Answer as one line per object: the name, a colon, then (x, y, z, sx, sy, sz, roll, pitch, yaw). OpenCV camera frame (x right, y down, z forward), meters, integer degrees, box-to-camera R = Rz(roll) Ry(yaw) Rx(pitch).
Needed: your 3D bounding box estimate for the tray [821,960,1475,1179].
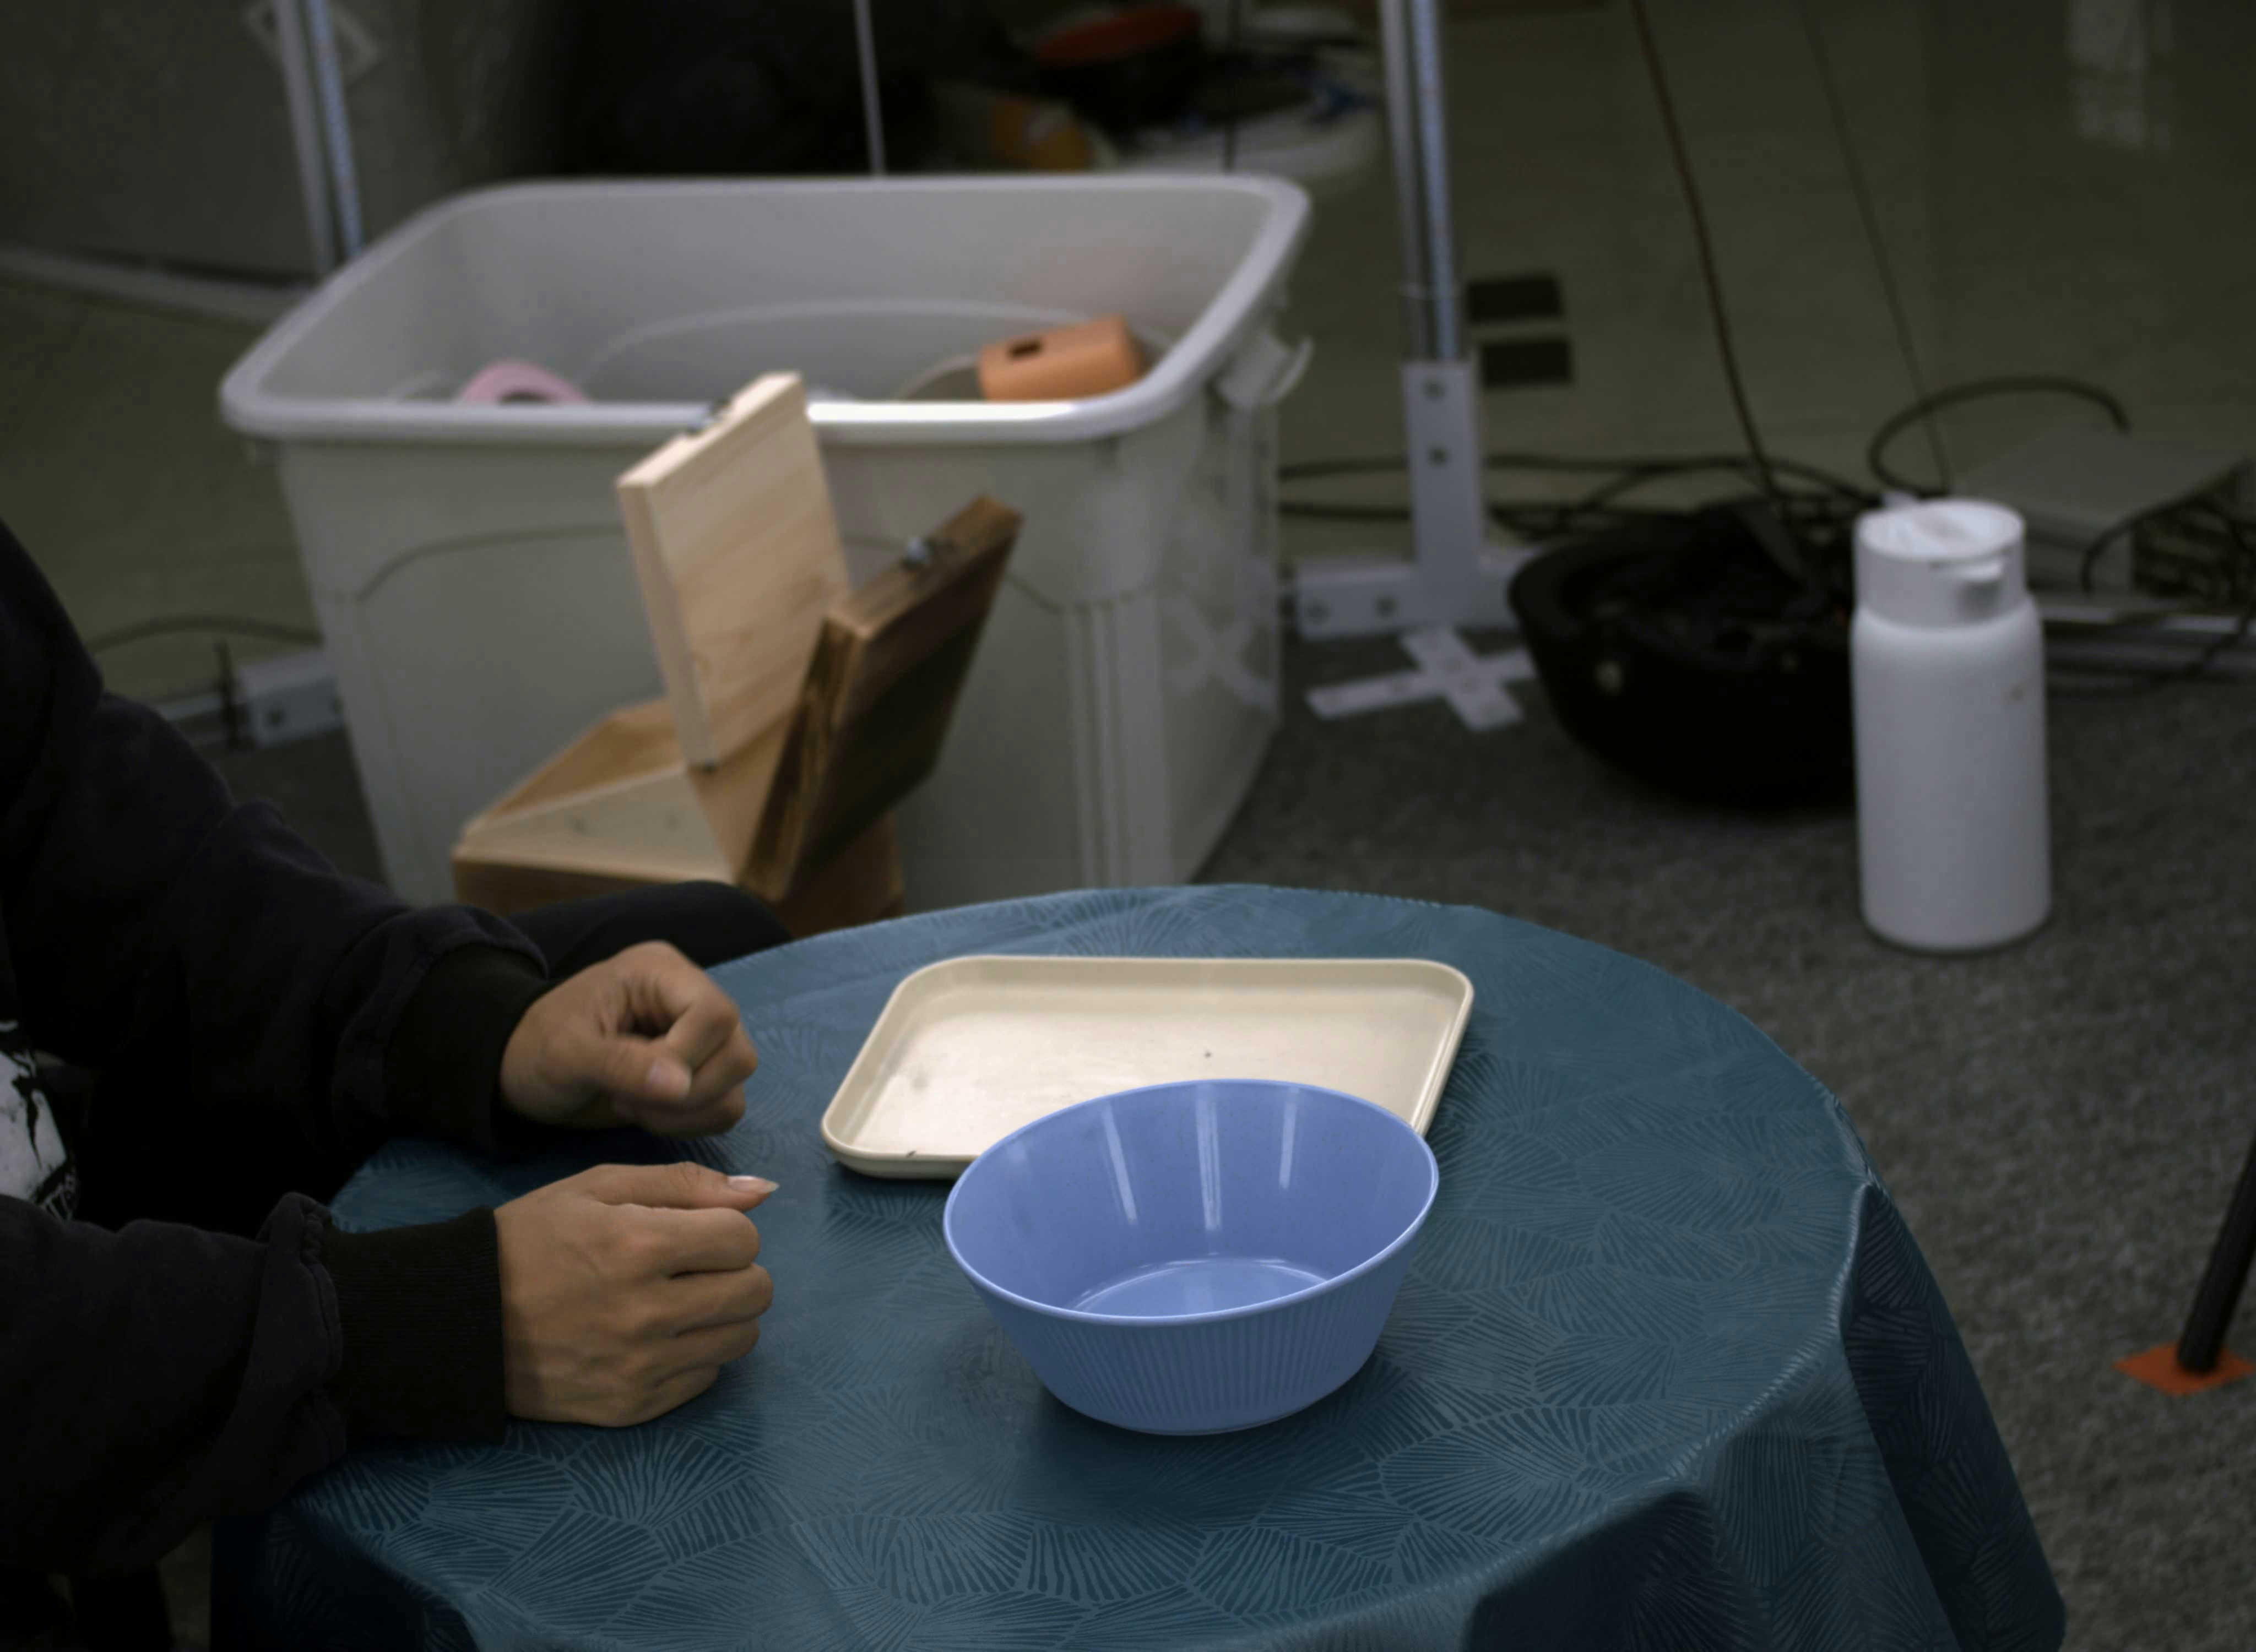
tray: (0.010, 0.097, 2.220, 0.239, 0.018, 0.169, 0, 25, 14)

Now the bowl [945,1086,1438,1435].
bowl: (0.025, 0.160, 2.016, 0.176, 0.071, 0.173, -5, 24, 3)
